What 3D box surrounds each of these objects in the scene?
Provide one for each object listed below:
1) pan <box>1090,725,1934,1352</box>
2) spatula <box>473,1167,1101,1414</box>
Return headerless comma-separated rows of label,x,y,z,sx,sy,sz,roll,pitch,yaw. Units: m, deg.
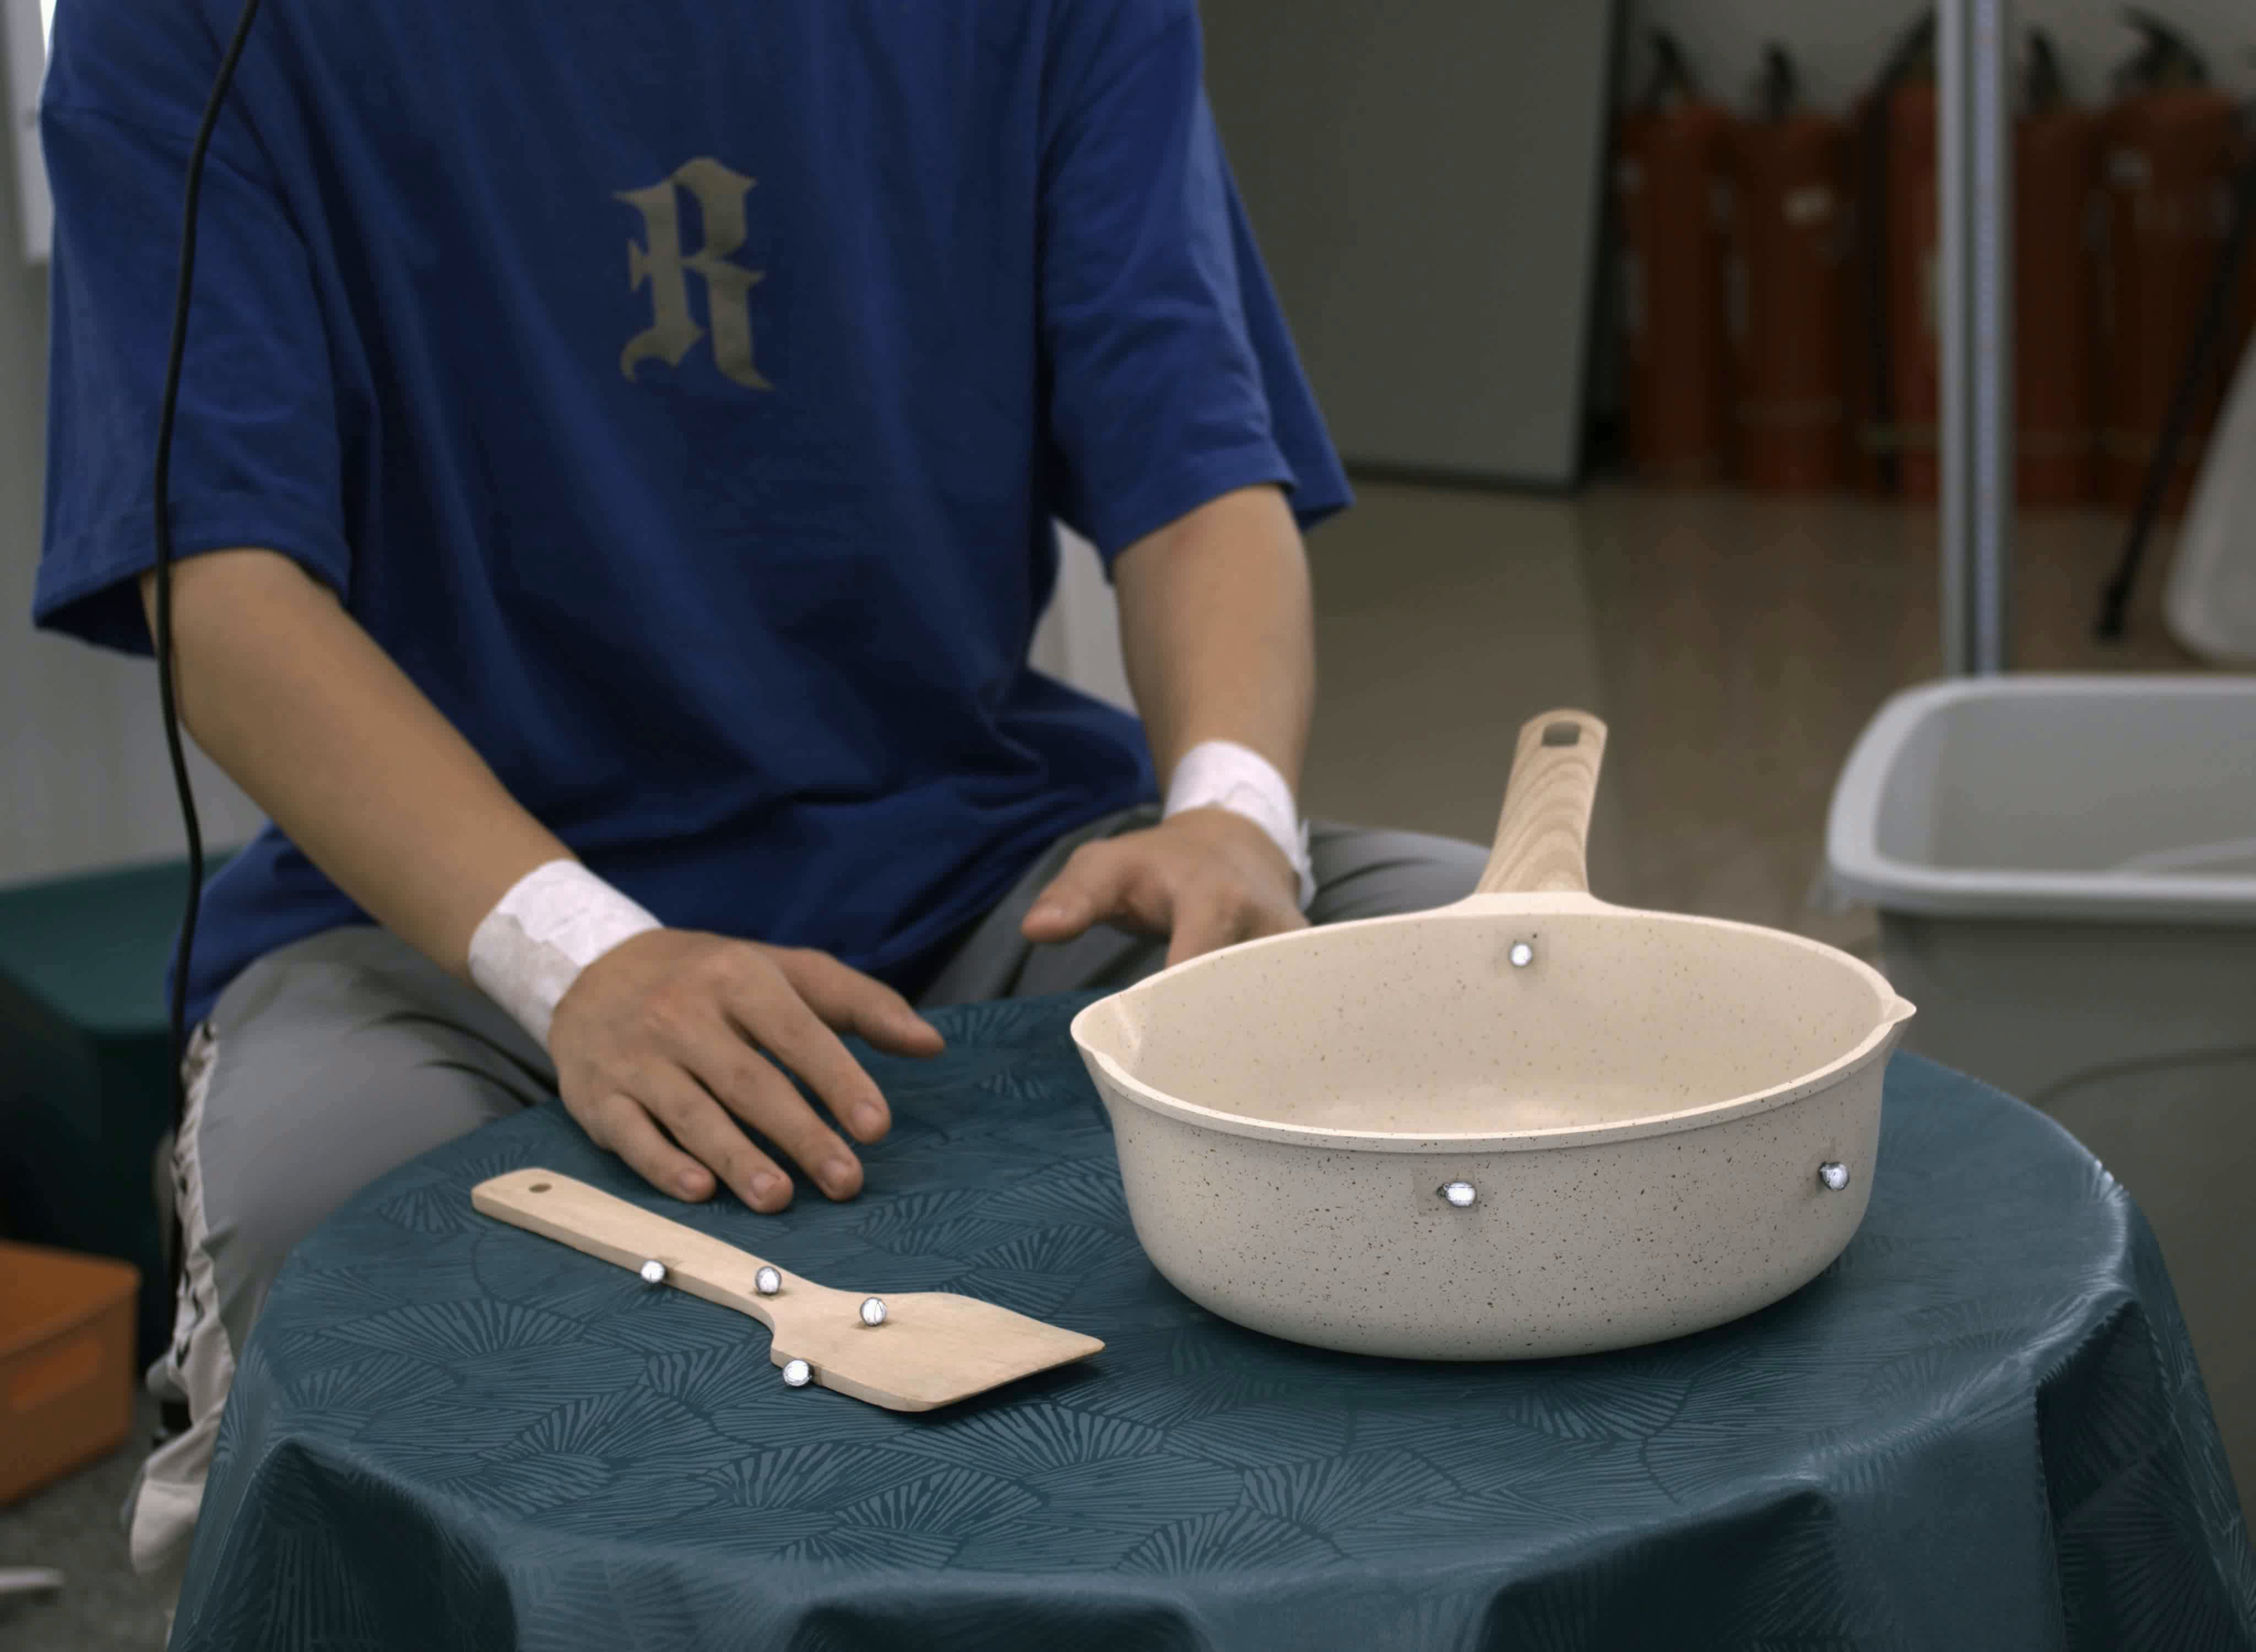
pan,0.132,0.065,1.751,0.261,0.103,0.433,-3,13,9
spatula,-0.122,0.143,1.698,0.071,0.011,0.296,-16,18,-35
